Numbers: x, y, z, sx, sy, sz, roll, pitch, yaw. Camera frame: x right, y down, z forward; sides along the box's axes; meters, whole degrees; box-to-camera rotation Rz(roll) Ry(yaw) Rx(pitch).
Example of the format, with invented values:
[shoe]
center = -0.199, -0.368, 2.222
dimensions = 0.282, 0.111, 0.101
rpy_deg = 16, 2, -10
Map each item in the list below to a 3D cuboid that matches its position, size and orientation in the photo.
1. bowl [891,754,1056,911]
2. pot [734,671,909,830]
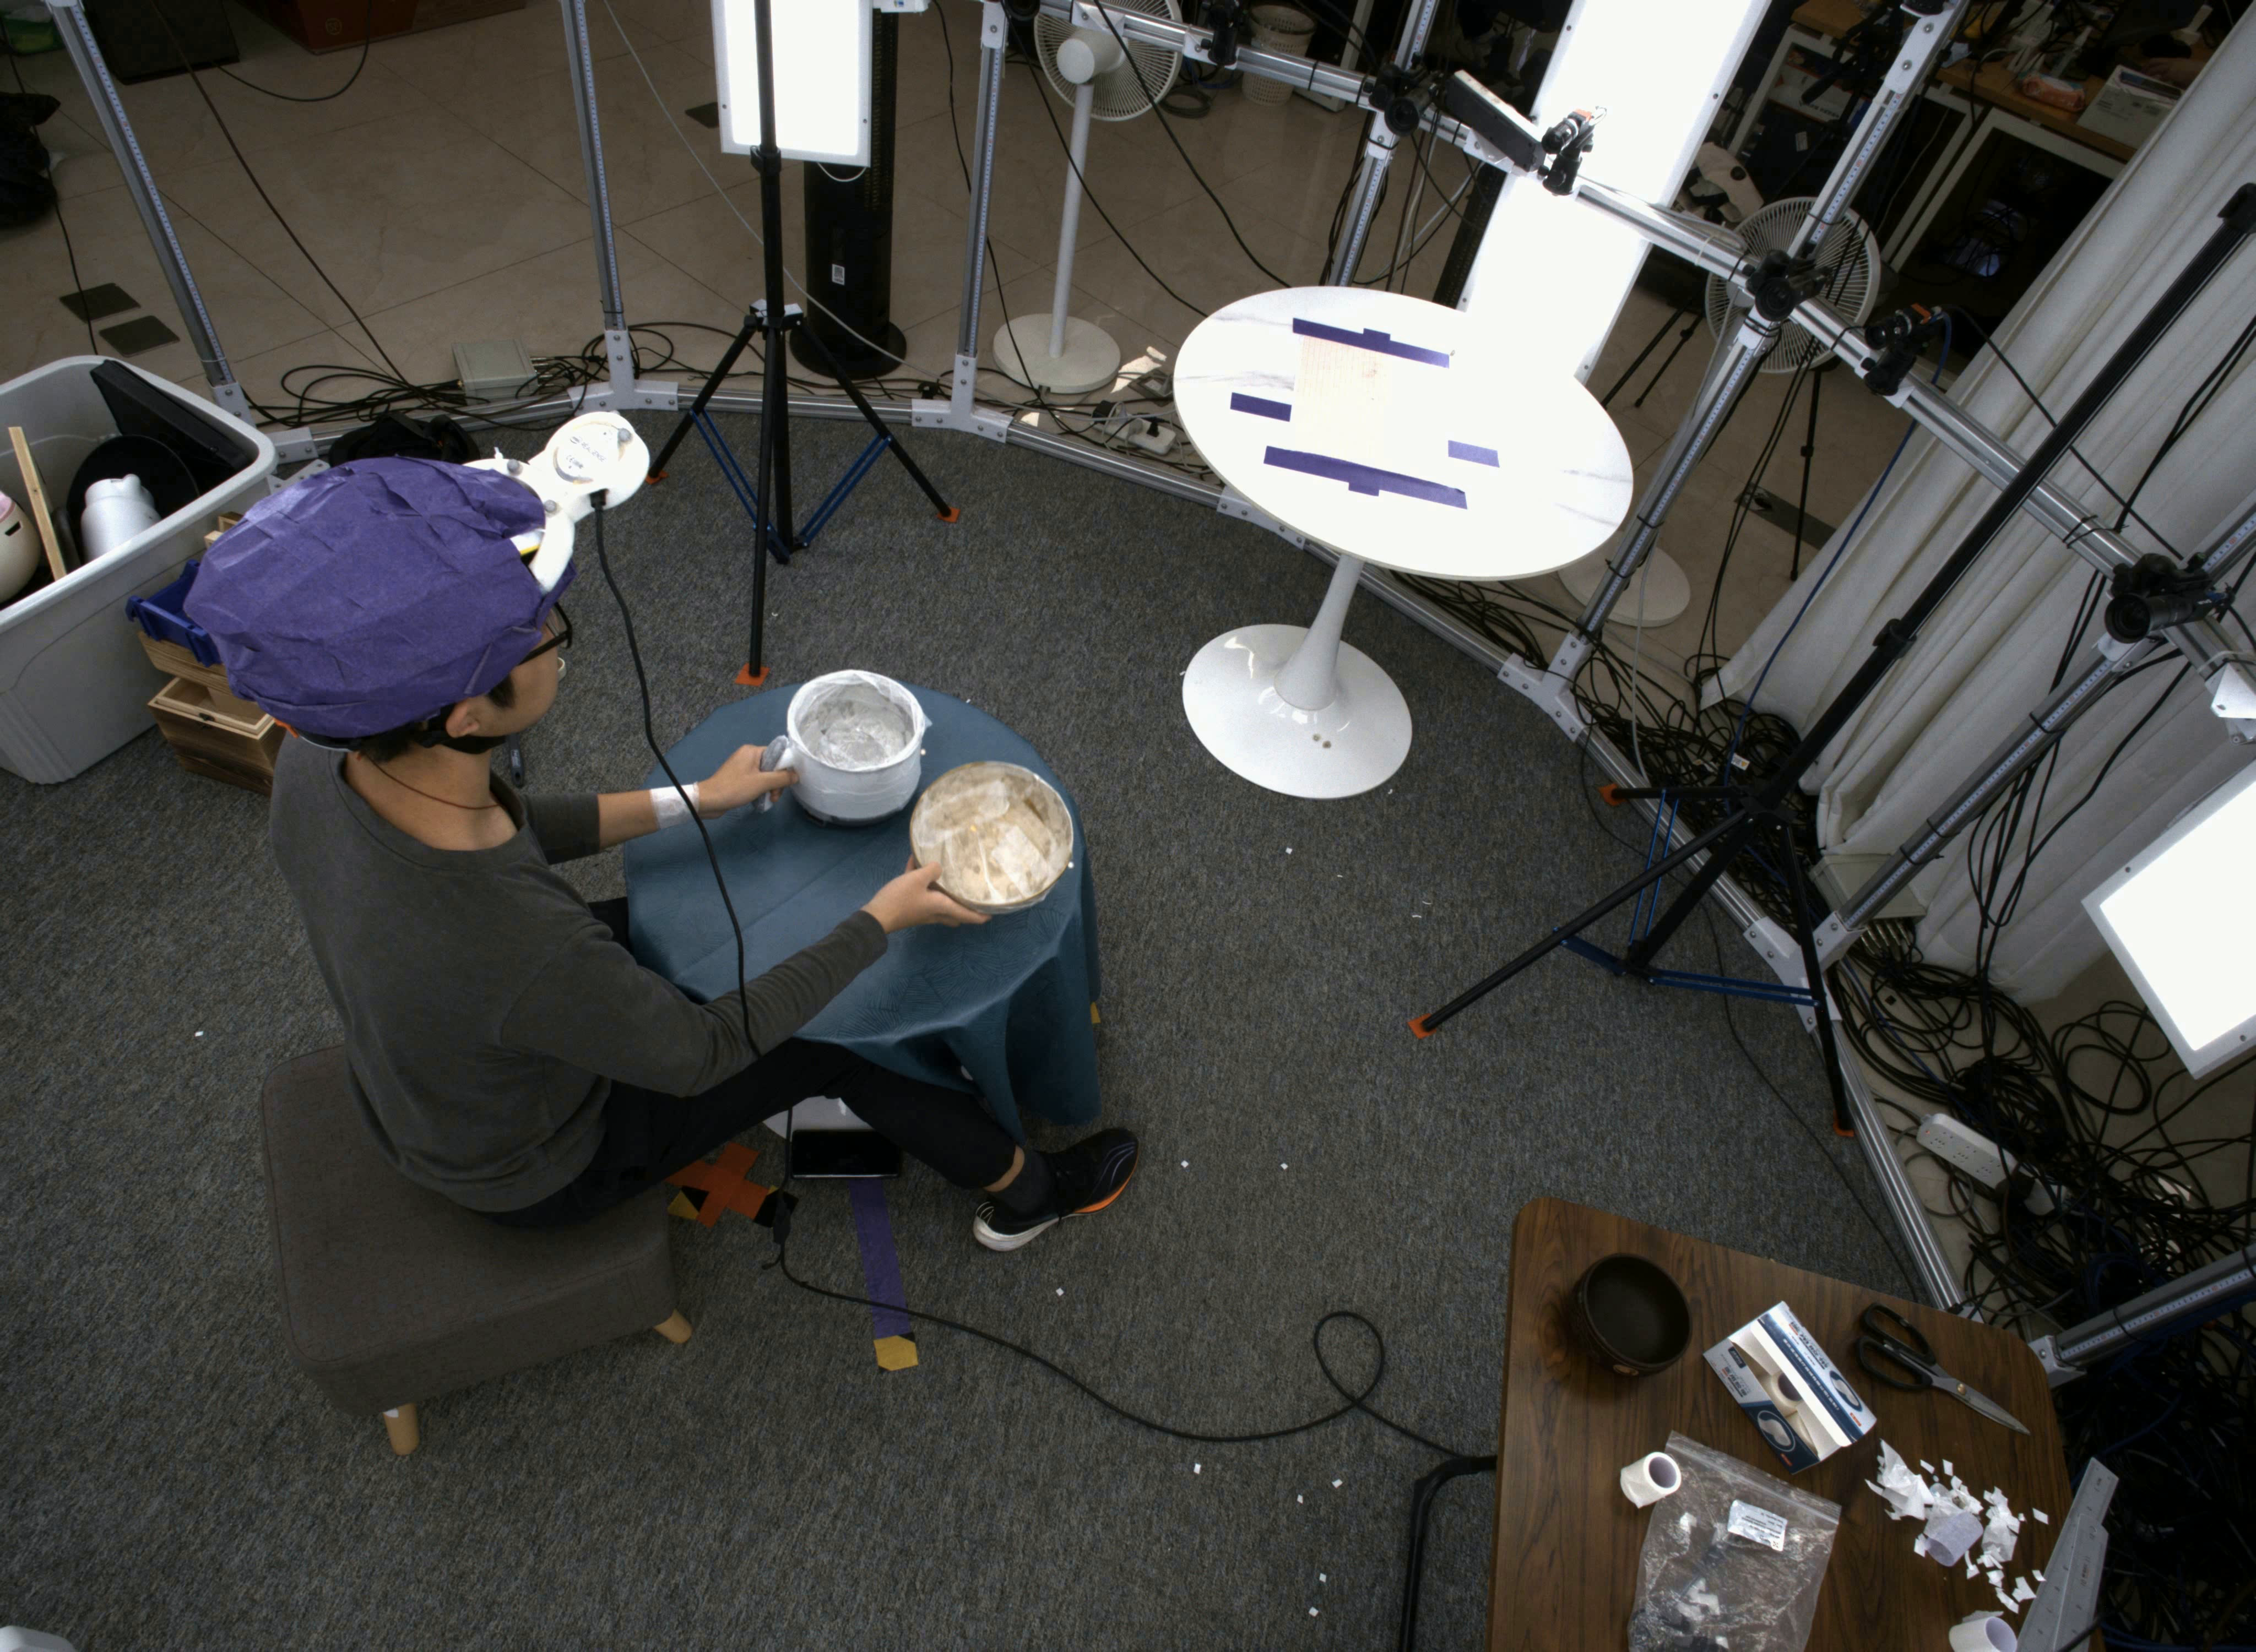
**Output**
[bowl]
center = -0.198, 0.021, 1.638
dimensions = 0.215, 0.095, 0.212
rpy_deg = 6, 65, -12
[pot]
center = -0.407, -0.087, 1.712
dimensions = 0.235, 0.139, 0.174
rpy_deg = -22, 61, -29
